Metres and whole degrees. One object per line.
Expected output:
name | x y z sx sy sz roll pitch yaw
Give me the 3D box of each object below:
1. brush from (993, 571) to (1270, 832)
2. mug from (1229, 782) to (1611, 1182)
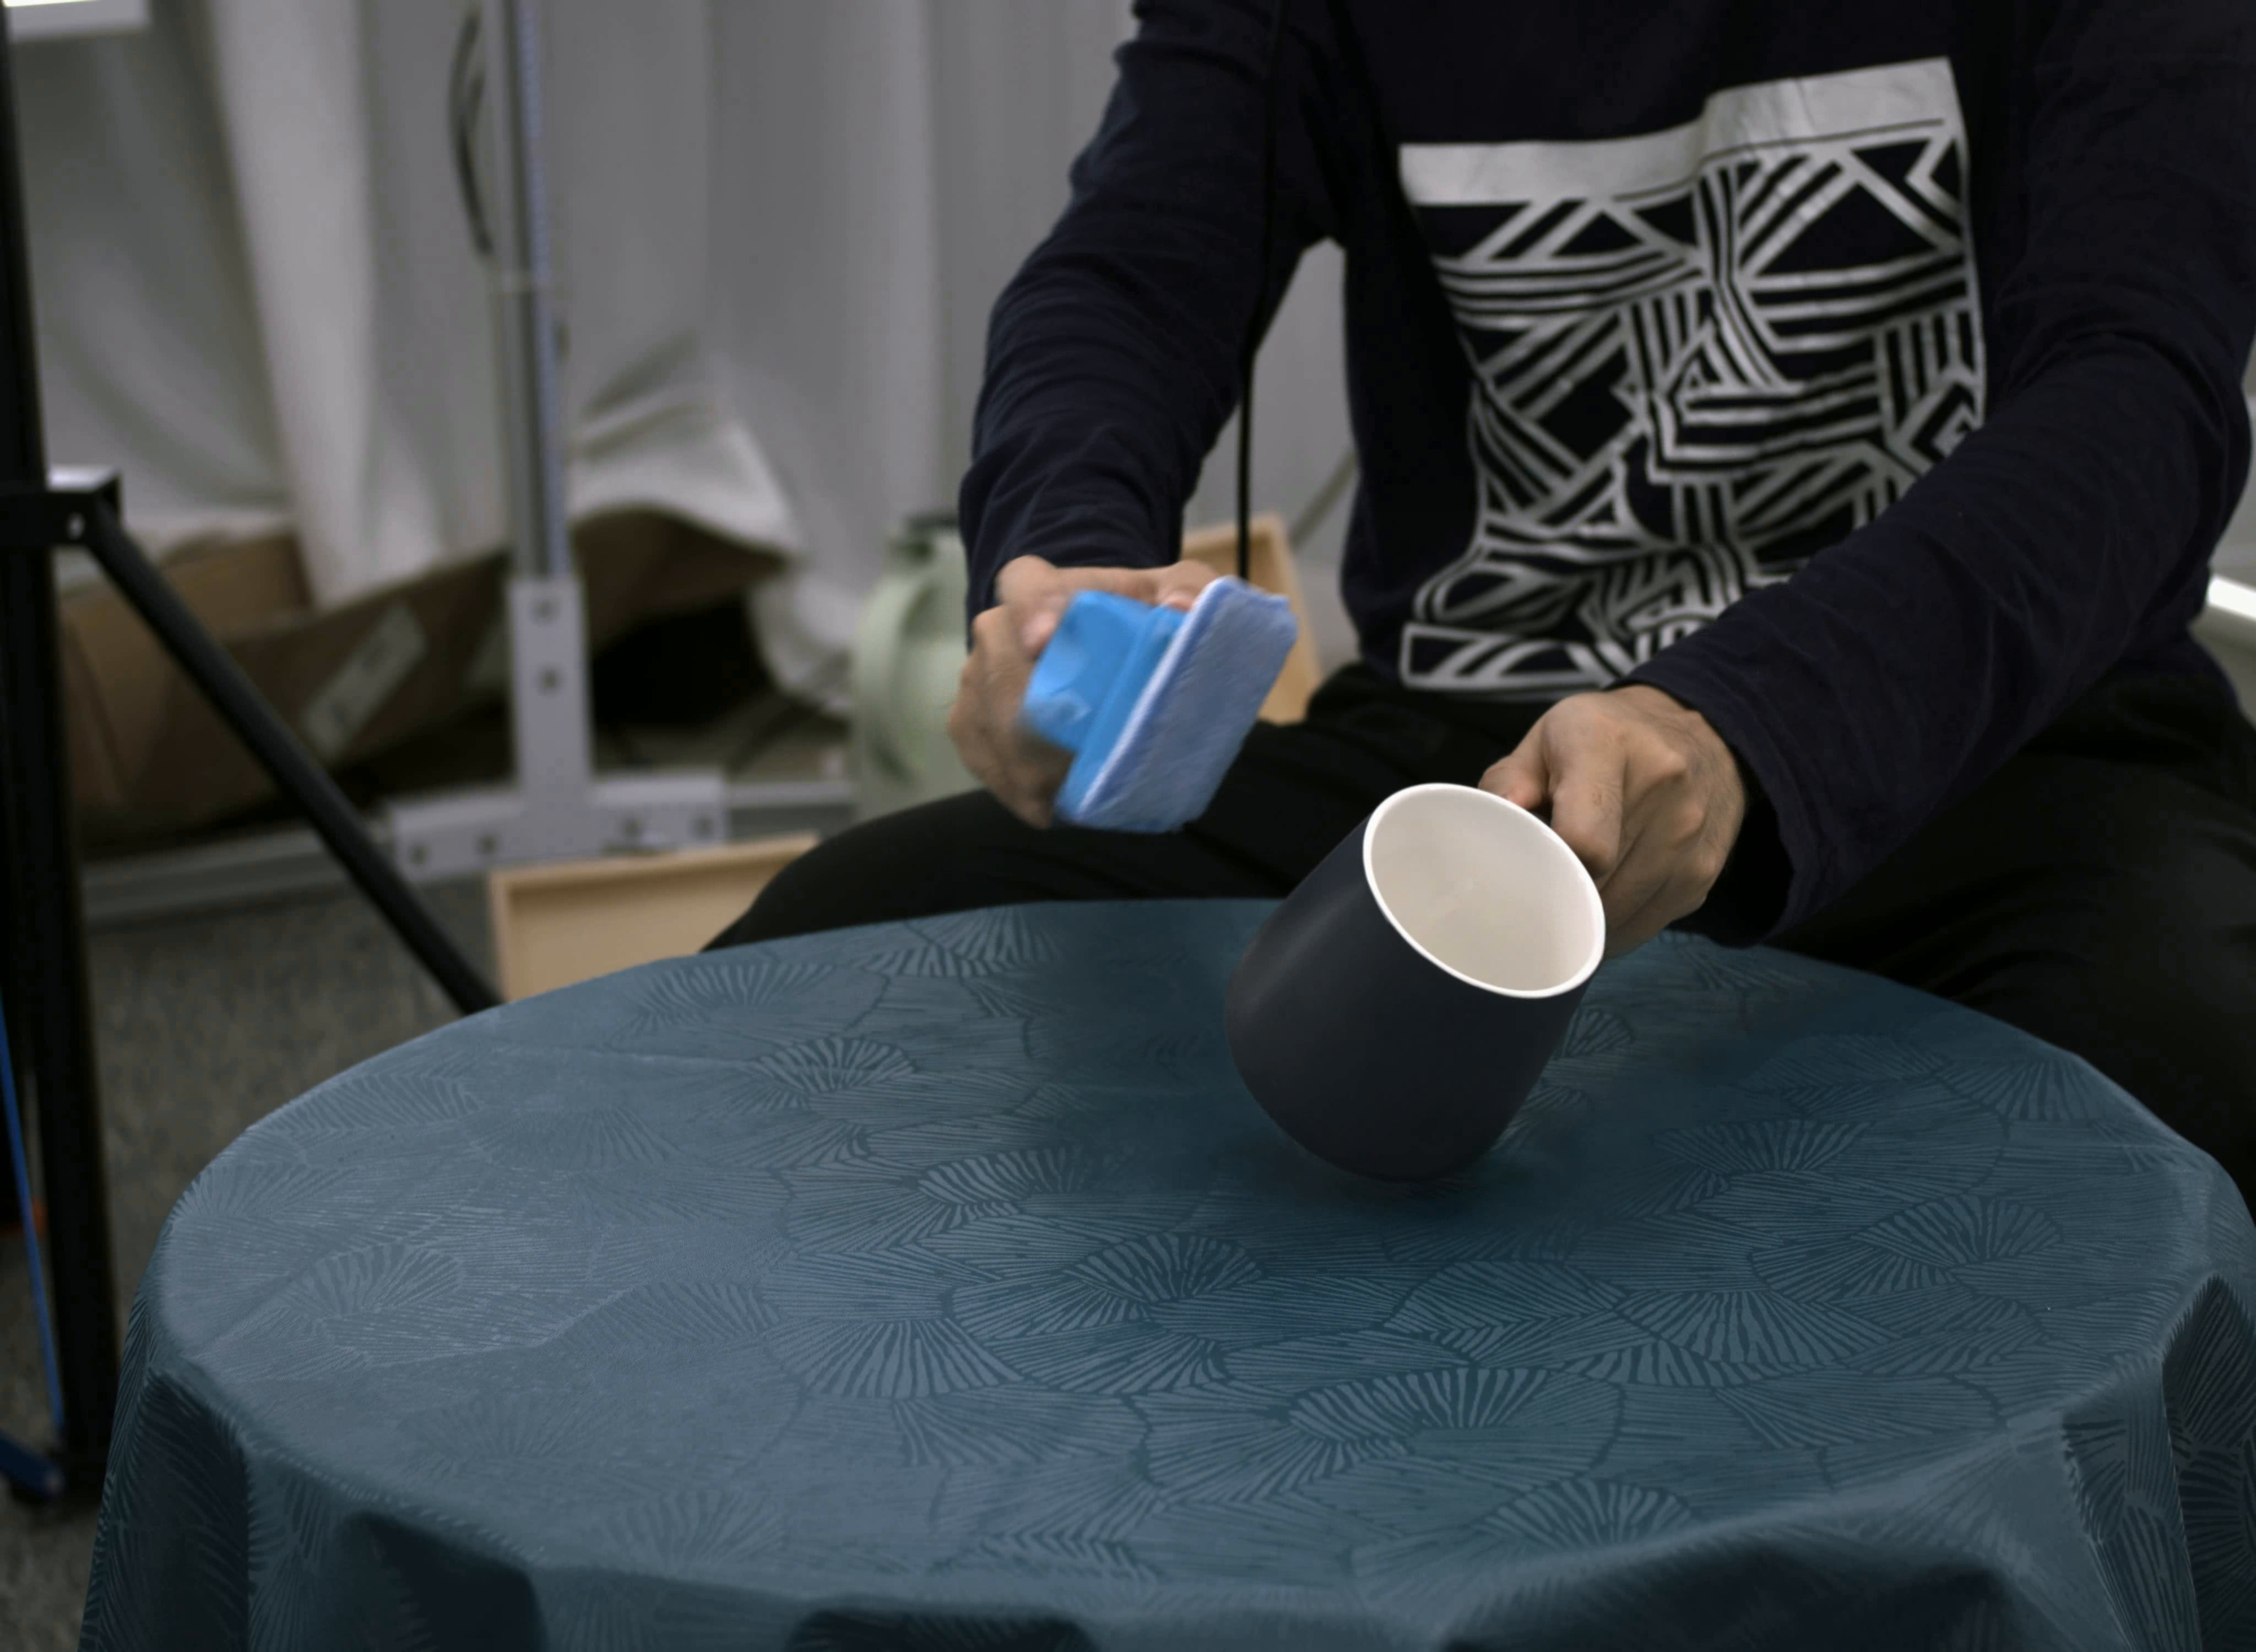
brush | -0.005 -0.042 1.587 0.056 0.084 0.142 33 9 8
mug | 0.093 0.038 1.551 0.094 0.090 0.122 38 43 6
